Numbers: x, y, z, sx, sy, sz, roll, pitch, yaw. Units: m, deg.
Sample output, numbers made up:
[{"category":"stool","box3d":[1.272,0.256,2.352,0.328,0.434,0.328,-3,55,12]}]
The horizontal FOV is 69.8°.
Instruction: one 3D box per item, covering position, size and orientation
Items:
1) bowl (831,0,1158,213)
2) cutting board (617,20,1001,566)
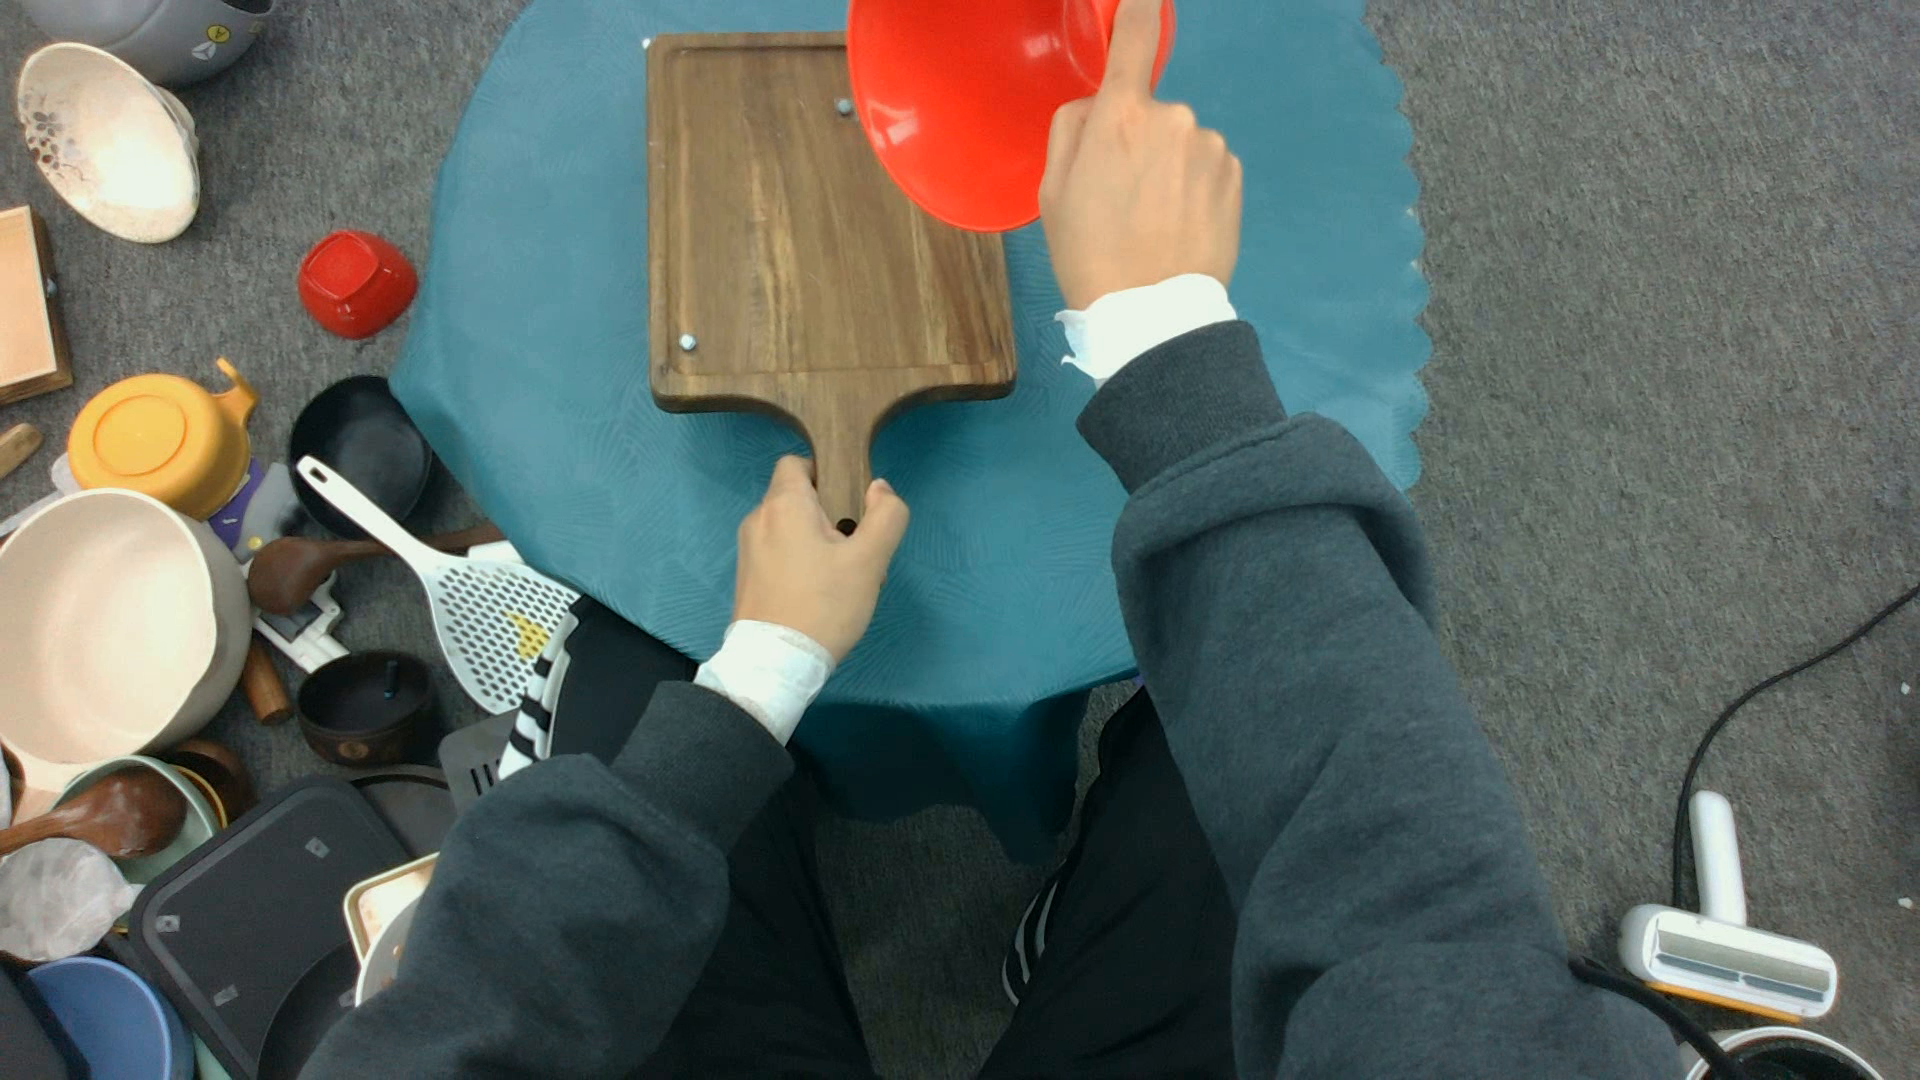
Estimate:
[{"category":"bowl","box3d":[0.025,-0.237,0.643,0.105,0.147,0.148,-27,73,-35]},{"category":"cutting board","box3d":[-0.084,-0.149,0.760,0.201,0.023,0.353,-4,66,-7]}]
